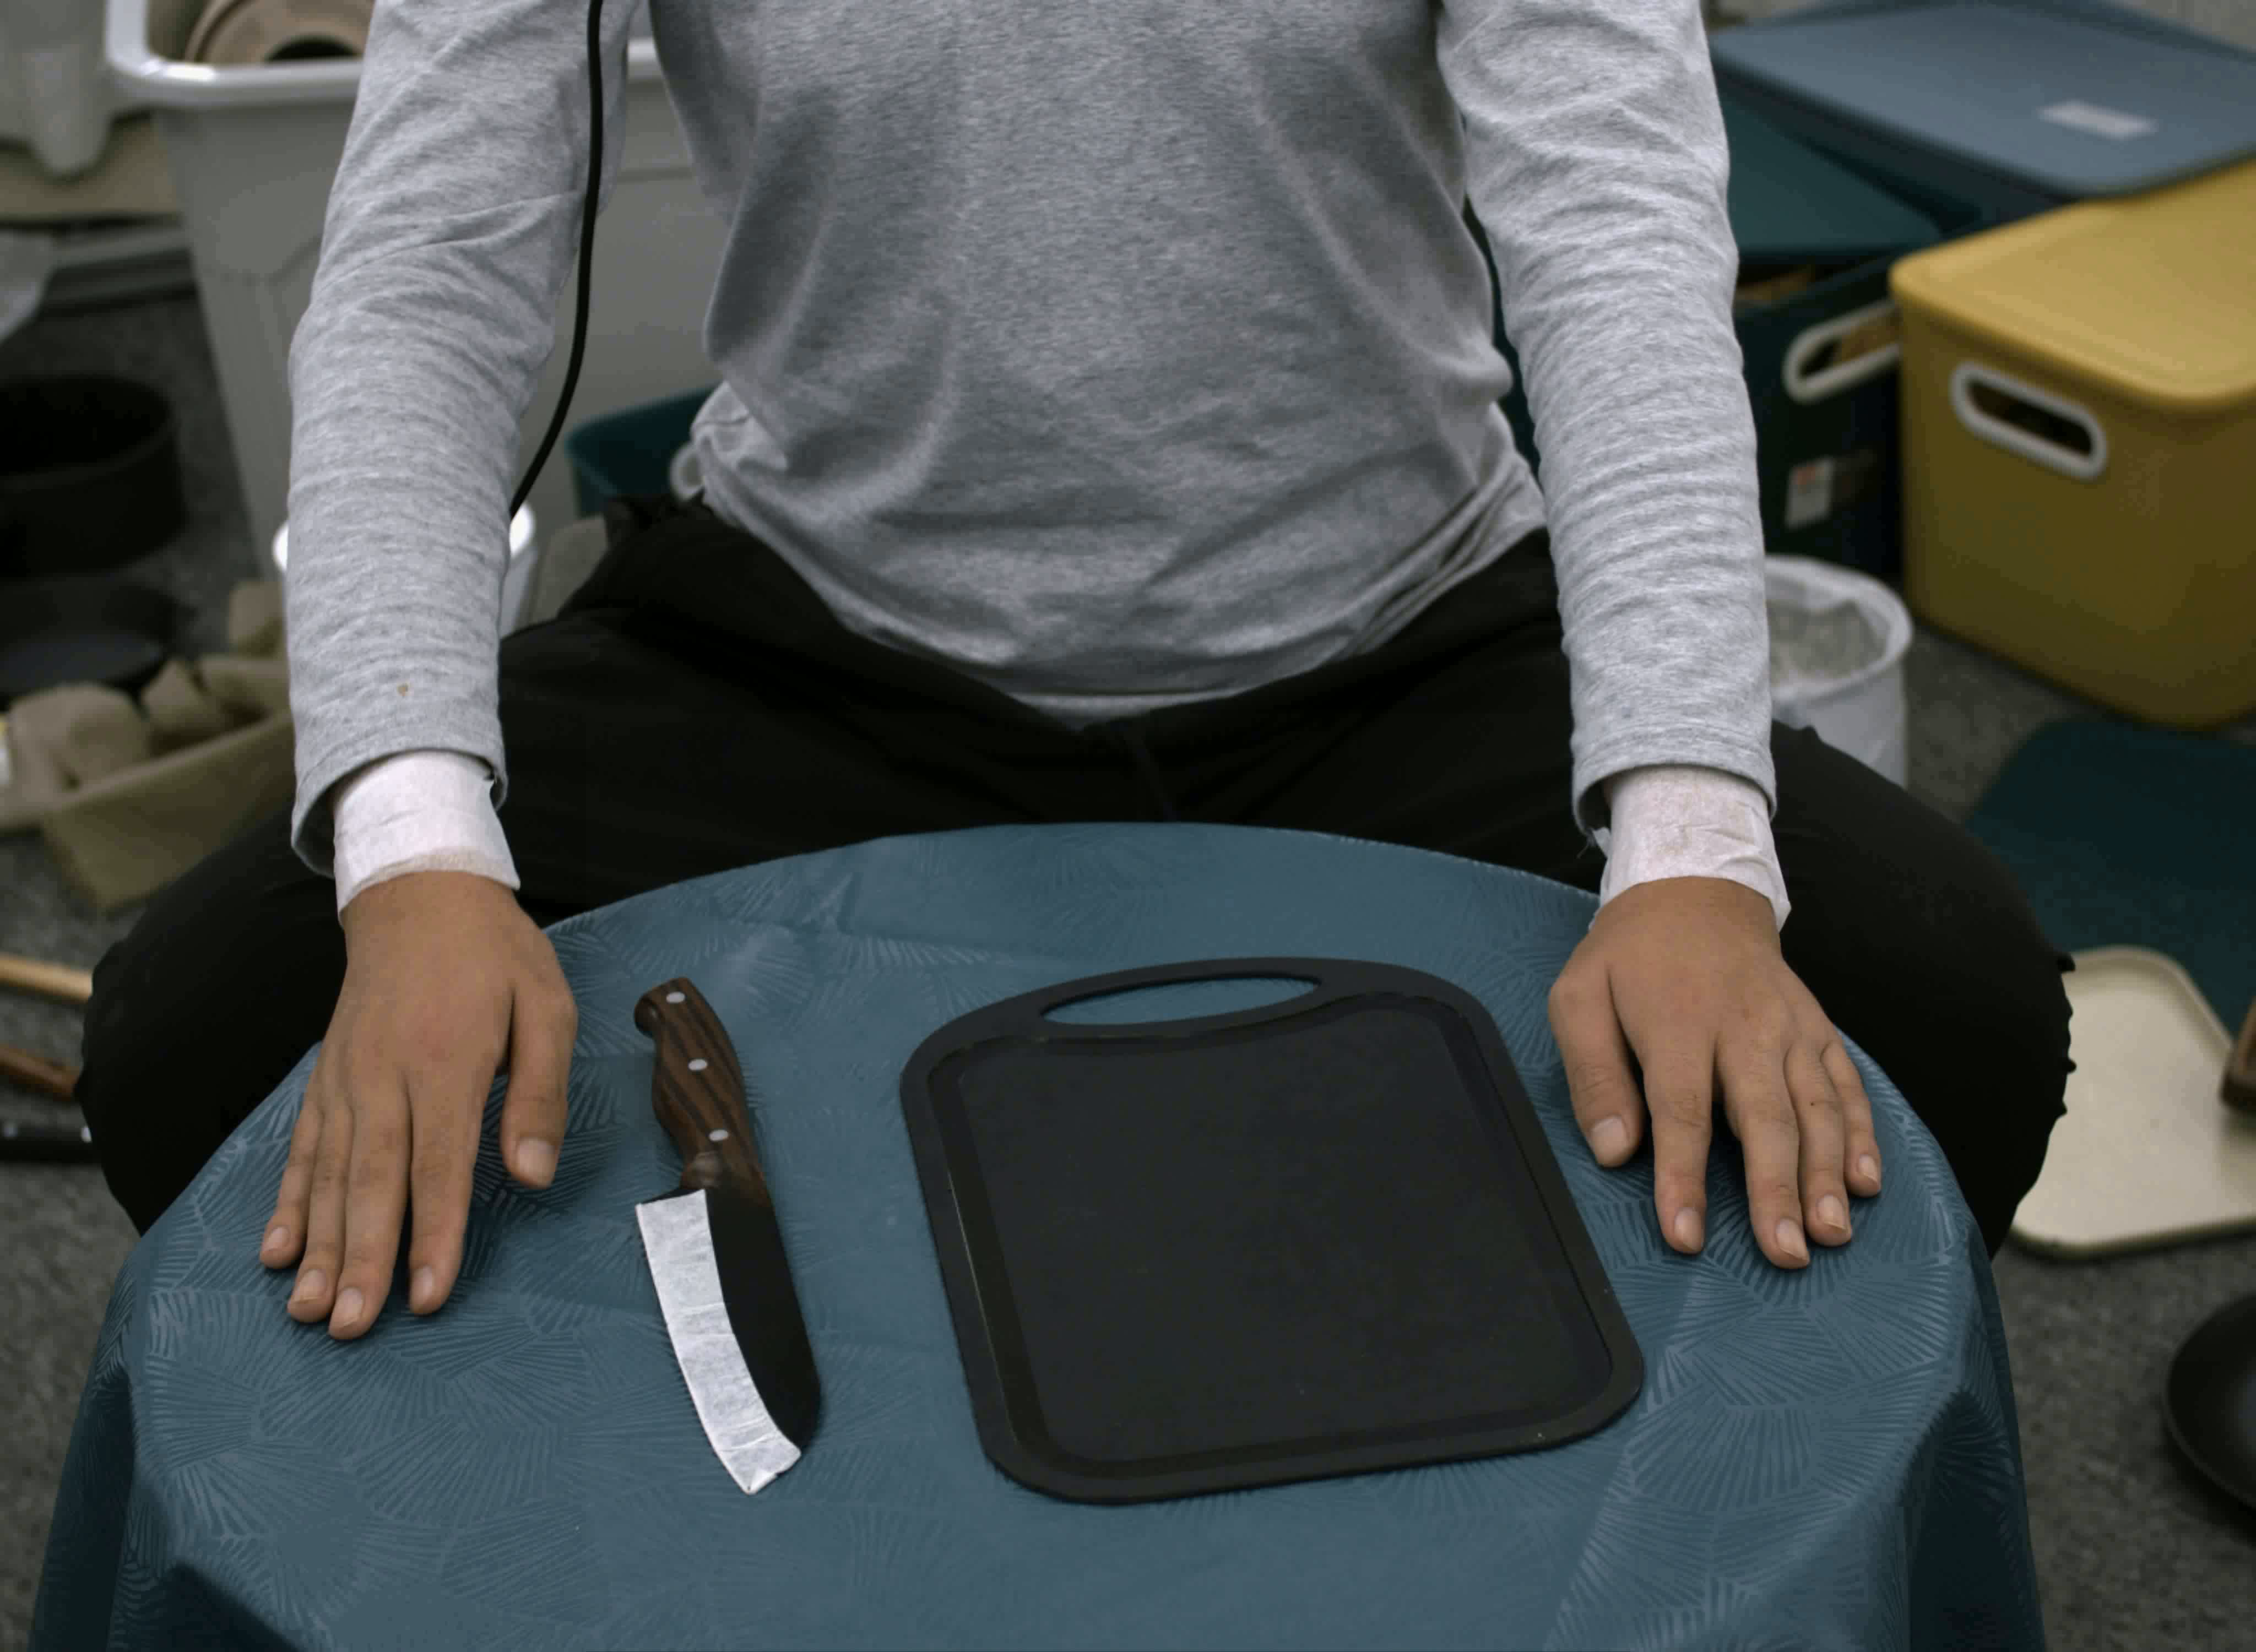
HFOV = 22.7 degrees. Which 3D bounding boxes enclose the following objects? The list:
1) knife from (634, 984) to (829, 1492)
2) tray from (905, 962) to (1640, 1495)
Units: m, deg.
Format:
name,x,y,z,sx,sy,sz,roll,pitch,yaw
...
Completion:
name,x,y,z,sx,sy,sz,roll,pitch,yaw
knife,-0.135,0.133,1.837,0.050,0.020,0.293,-11,30,-5
tray,0.039,0.123,1.849,0.210,0.009,0.329,-6,27,-6
